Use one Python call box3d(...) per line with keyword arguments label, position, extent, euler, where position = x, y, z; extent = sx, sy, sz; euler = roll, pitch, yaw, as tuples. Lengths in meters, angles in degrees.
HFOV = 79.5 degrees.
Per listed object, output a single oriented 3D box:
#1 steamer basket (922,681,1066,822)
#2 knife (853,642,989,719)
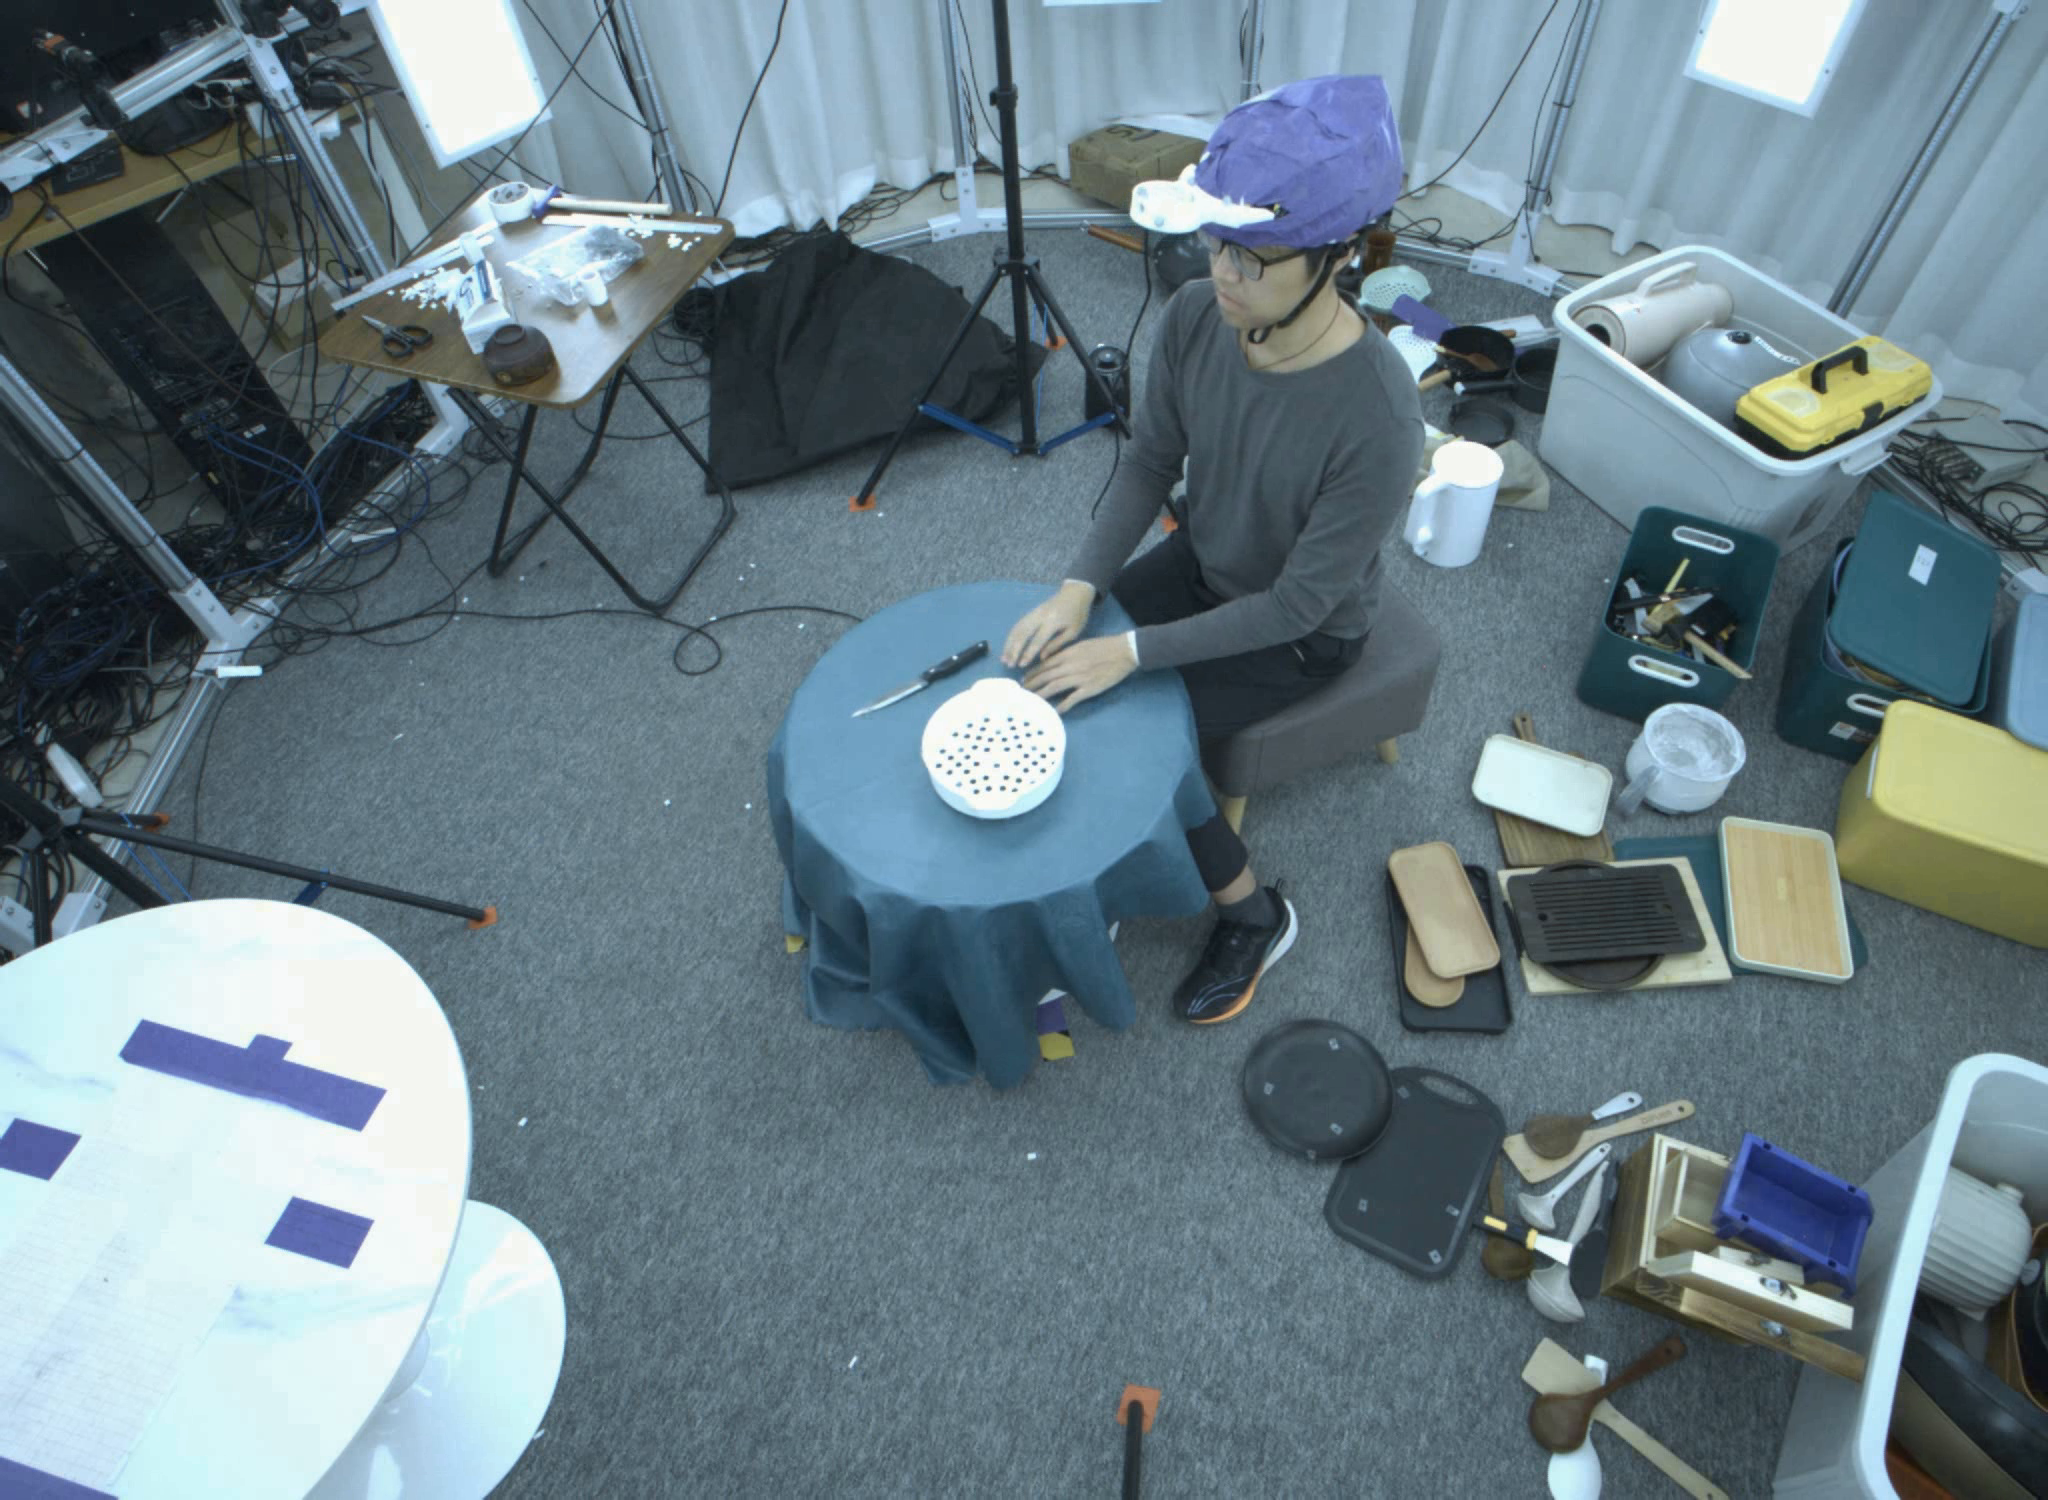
box3d(label="steamer basket", position=(-0.041, 0.007, 1.749), extent=(0.202, 0.070, 0.228), euler=(0, 54, 1))
box3d(label="knife", position=(-0.159, -0.106, 1.868), extent=(0.240, 0.016, 0.024), euler=(-30, 58, -15))
